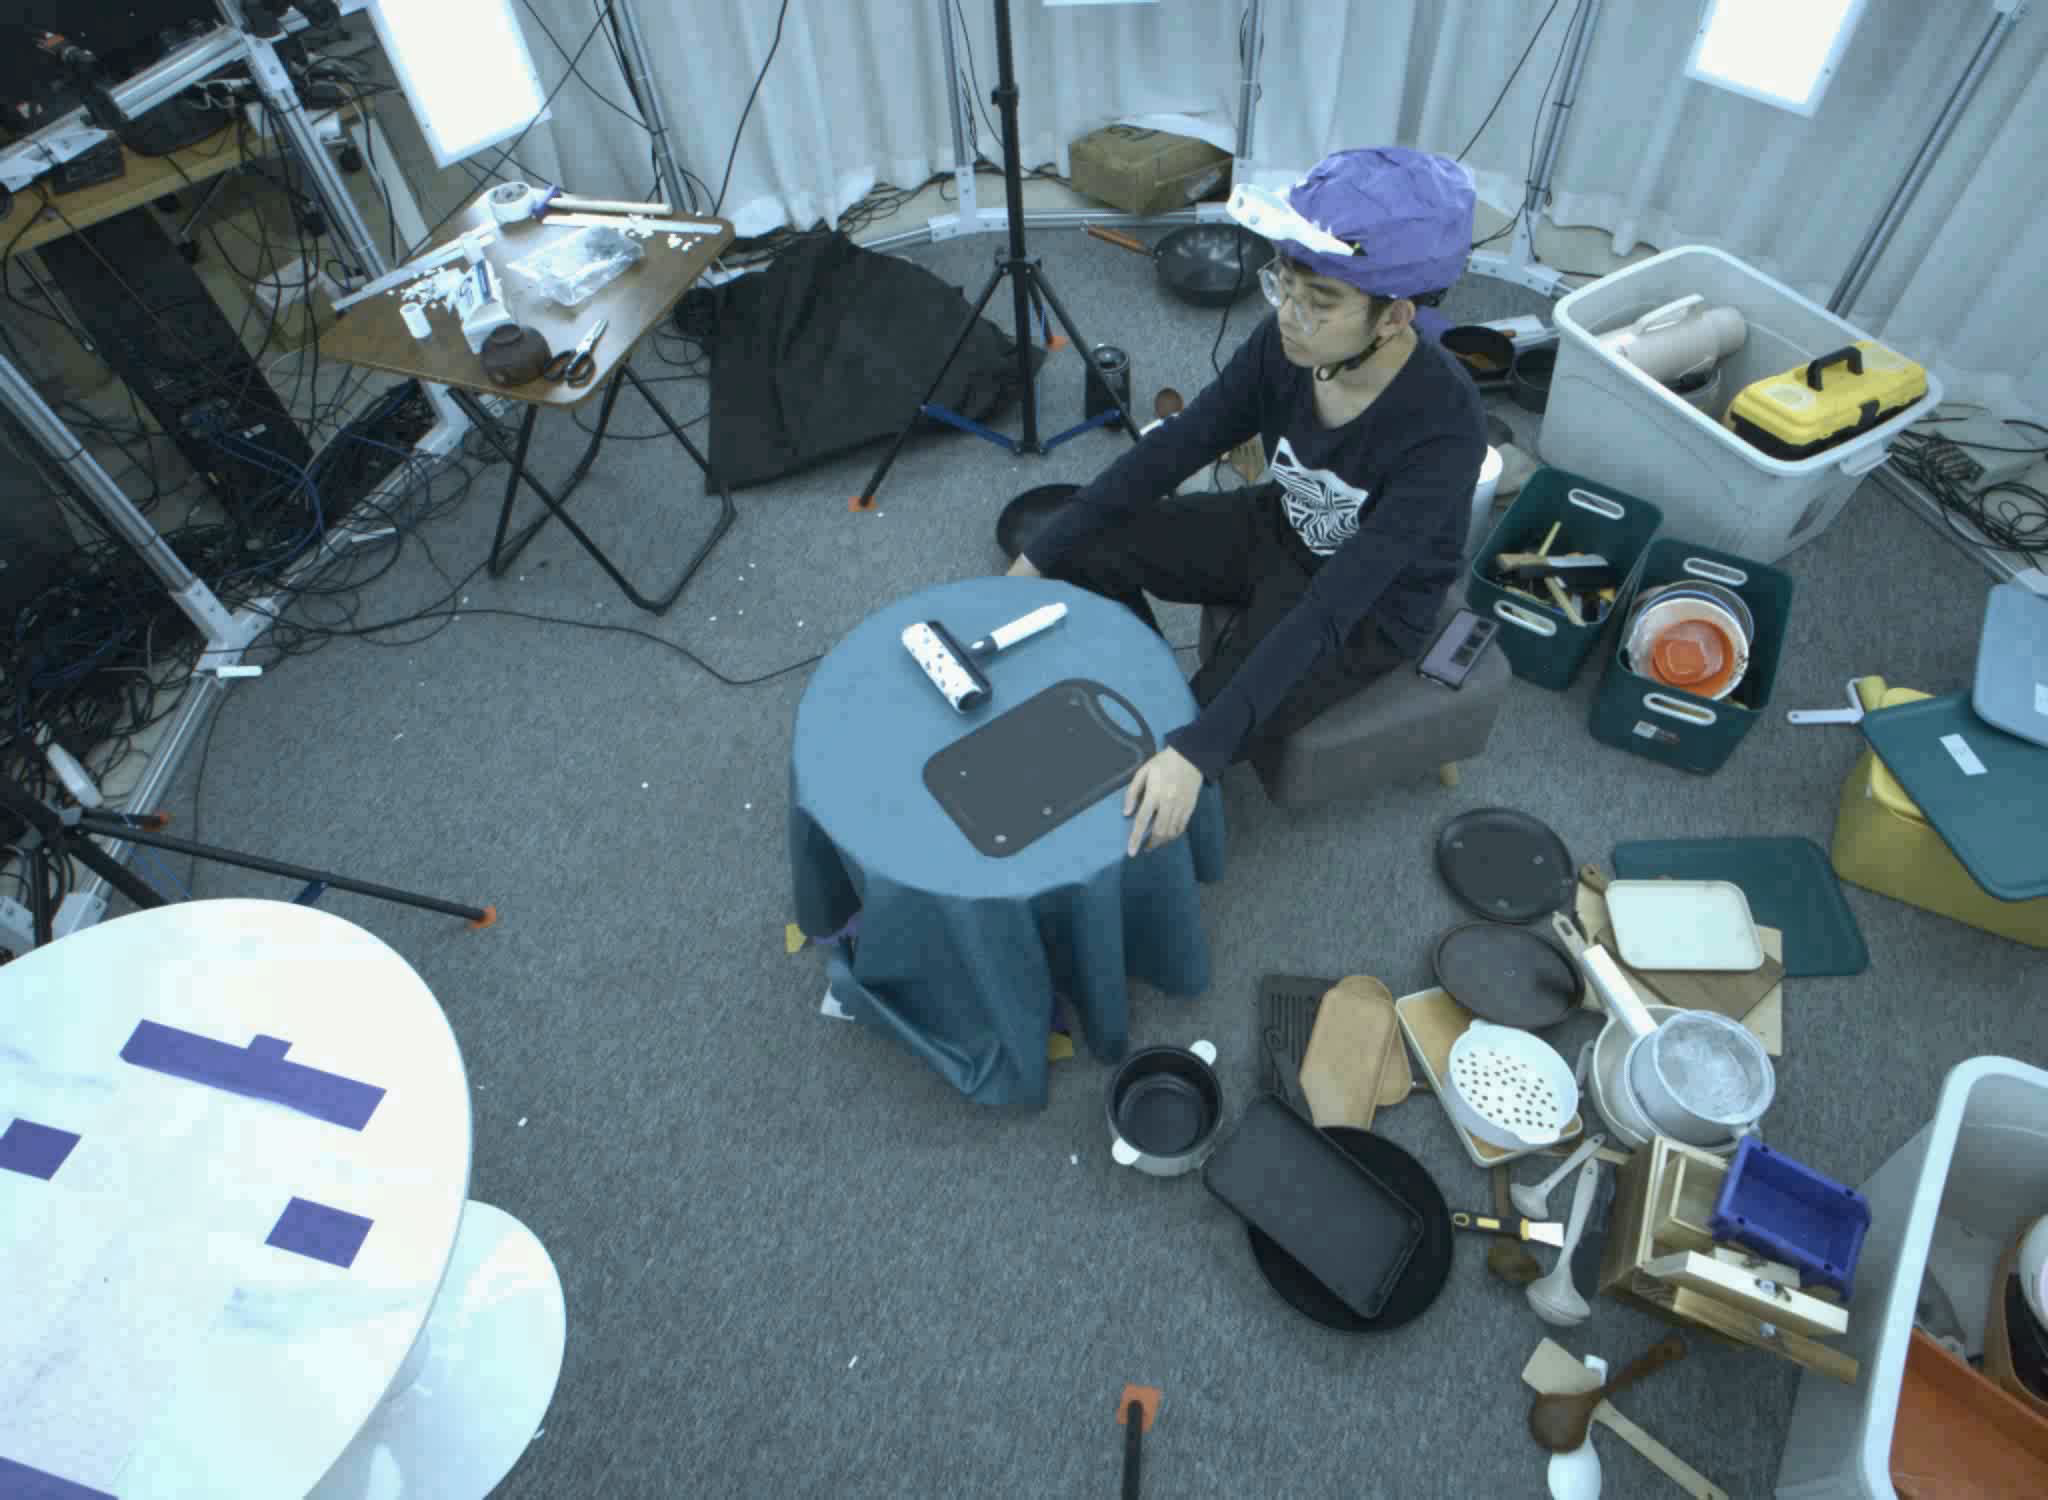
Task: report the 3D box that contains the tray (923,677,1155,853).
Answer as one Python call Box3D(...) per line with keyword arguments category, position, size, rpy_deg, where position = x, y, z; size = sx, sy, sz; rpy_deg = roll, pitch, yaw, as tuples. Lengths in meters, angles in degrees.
Box3D(category="tray", position=(0.028, 0.010, 1.783), size=(0.328, 0.010, 0.207), rpy_deg=(-30, 59, -19))

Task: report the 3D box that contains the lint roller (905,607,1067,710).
Box3D(category="lint roller", position=(-0.040, -0.172, 1.894), size=(0.249, 0.051, 0.173), rpy_deg=(-28, 57, -20))
